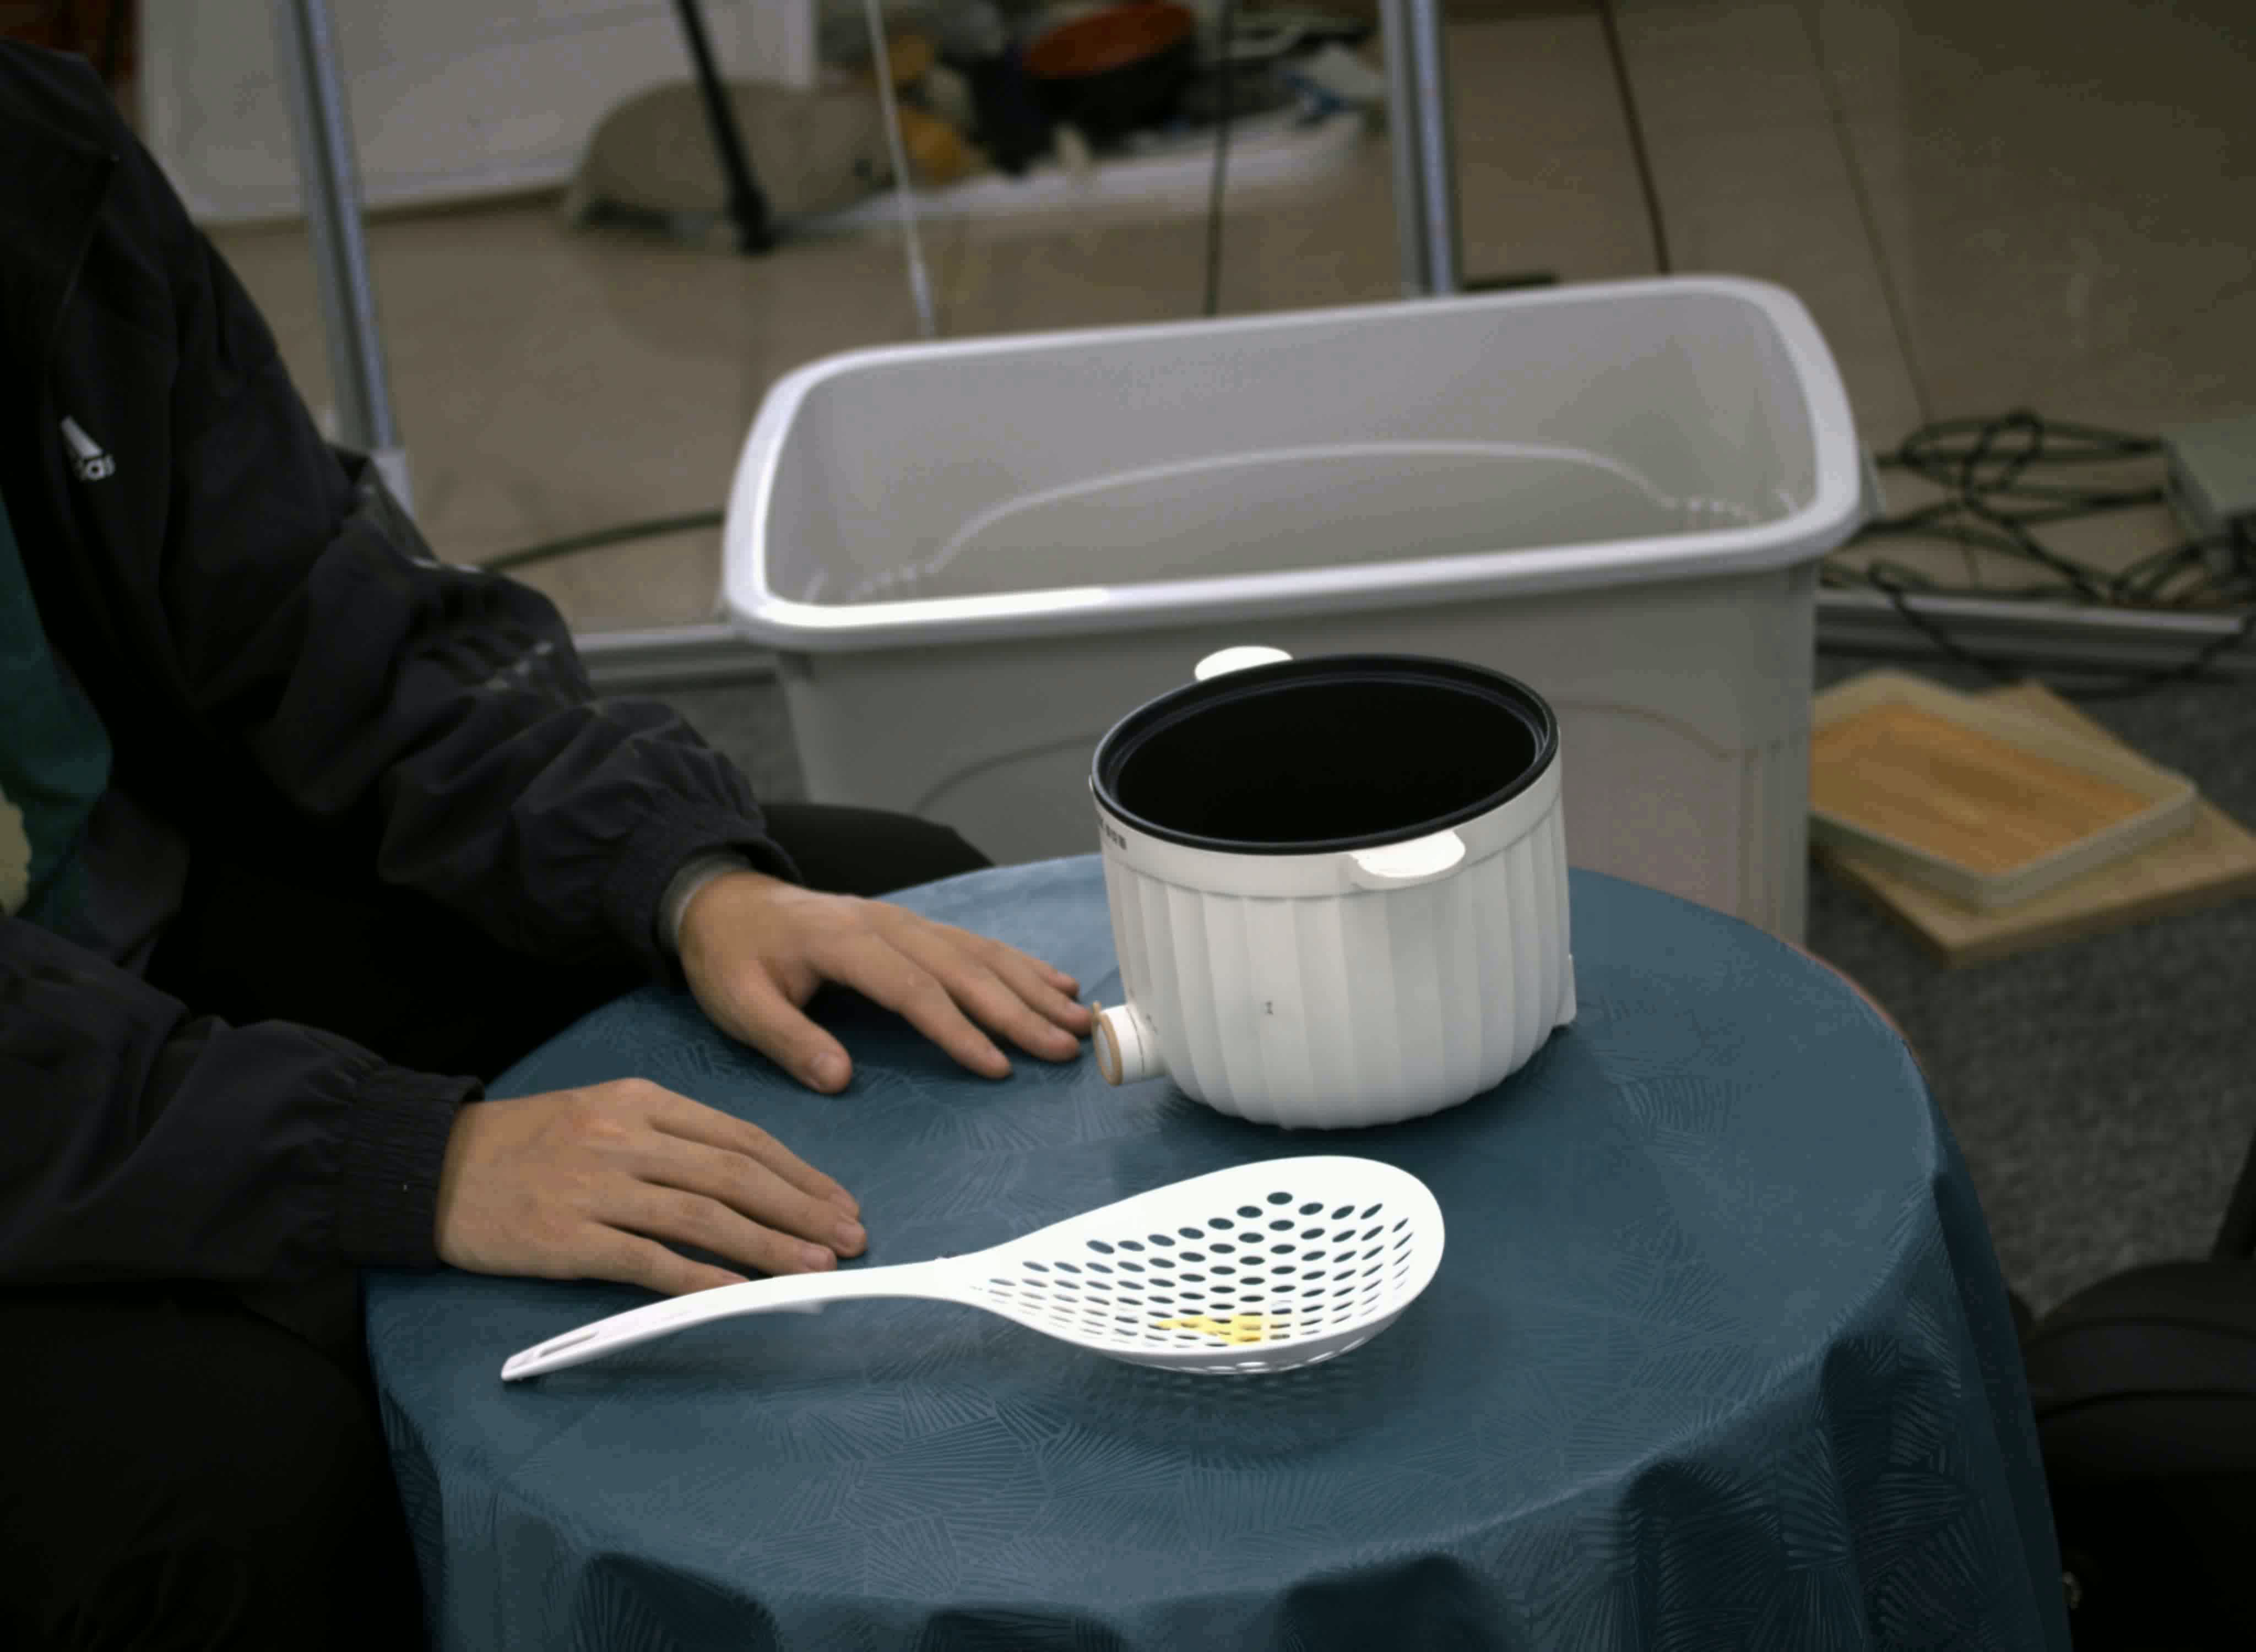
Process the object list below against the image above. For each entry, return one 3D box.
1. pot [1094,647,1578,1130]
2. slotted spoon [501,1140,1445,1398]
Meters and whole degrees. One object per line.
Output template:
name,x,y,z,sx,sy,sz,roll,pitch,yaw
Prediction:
pot,0.078,0.031,2.193,0.190,0.145,0.237,-10,24,-14
slotted spoon,-0.058,0.172,2.039,0.347,0.051,0.135,-3,27,7
